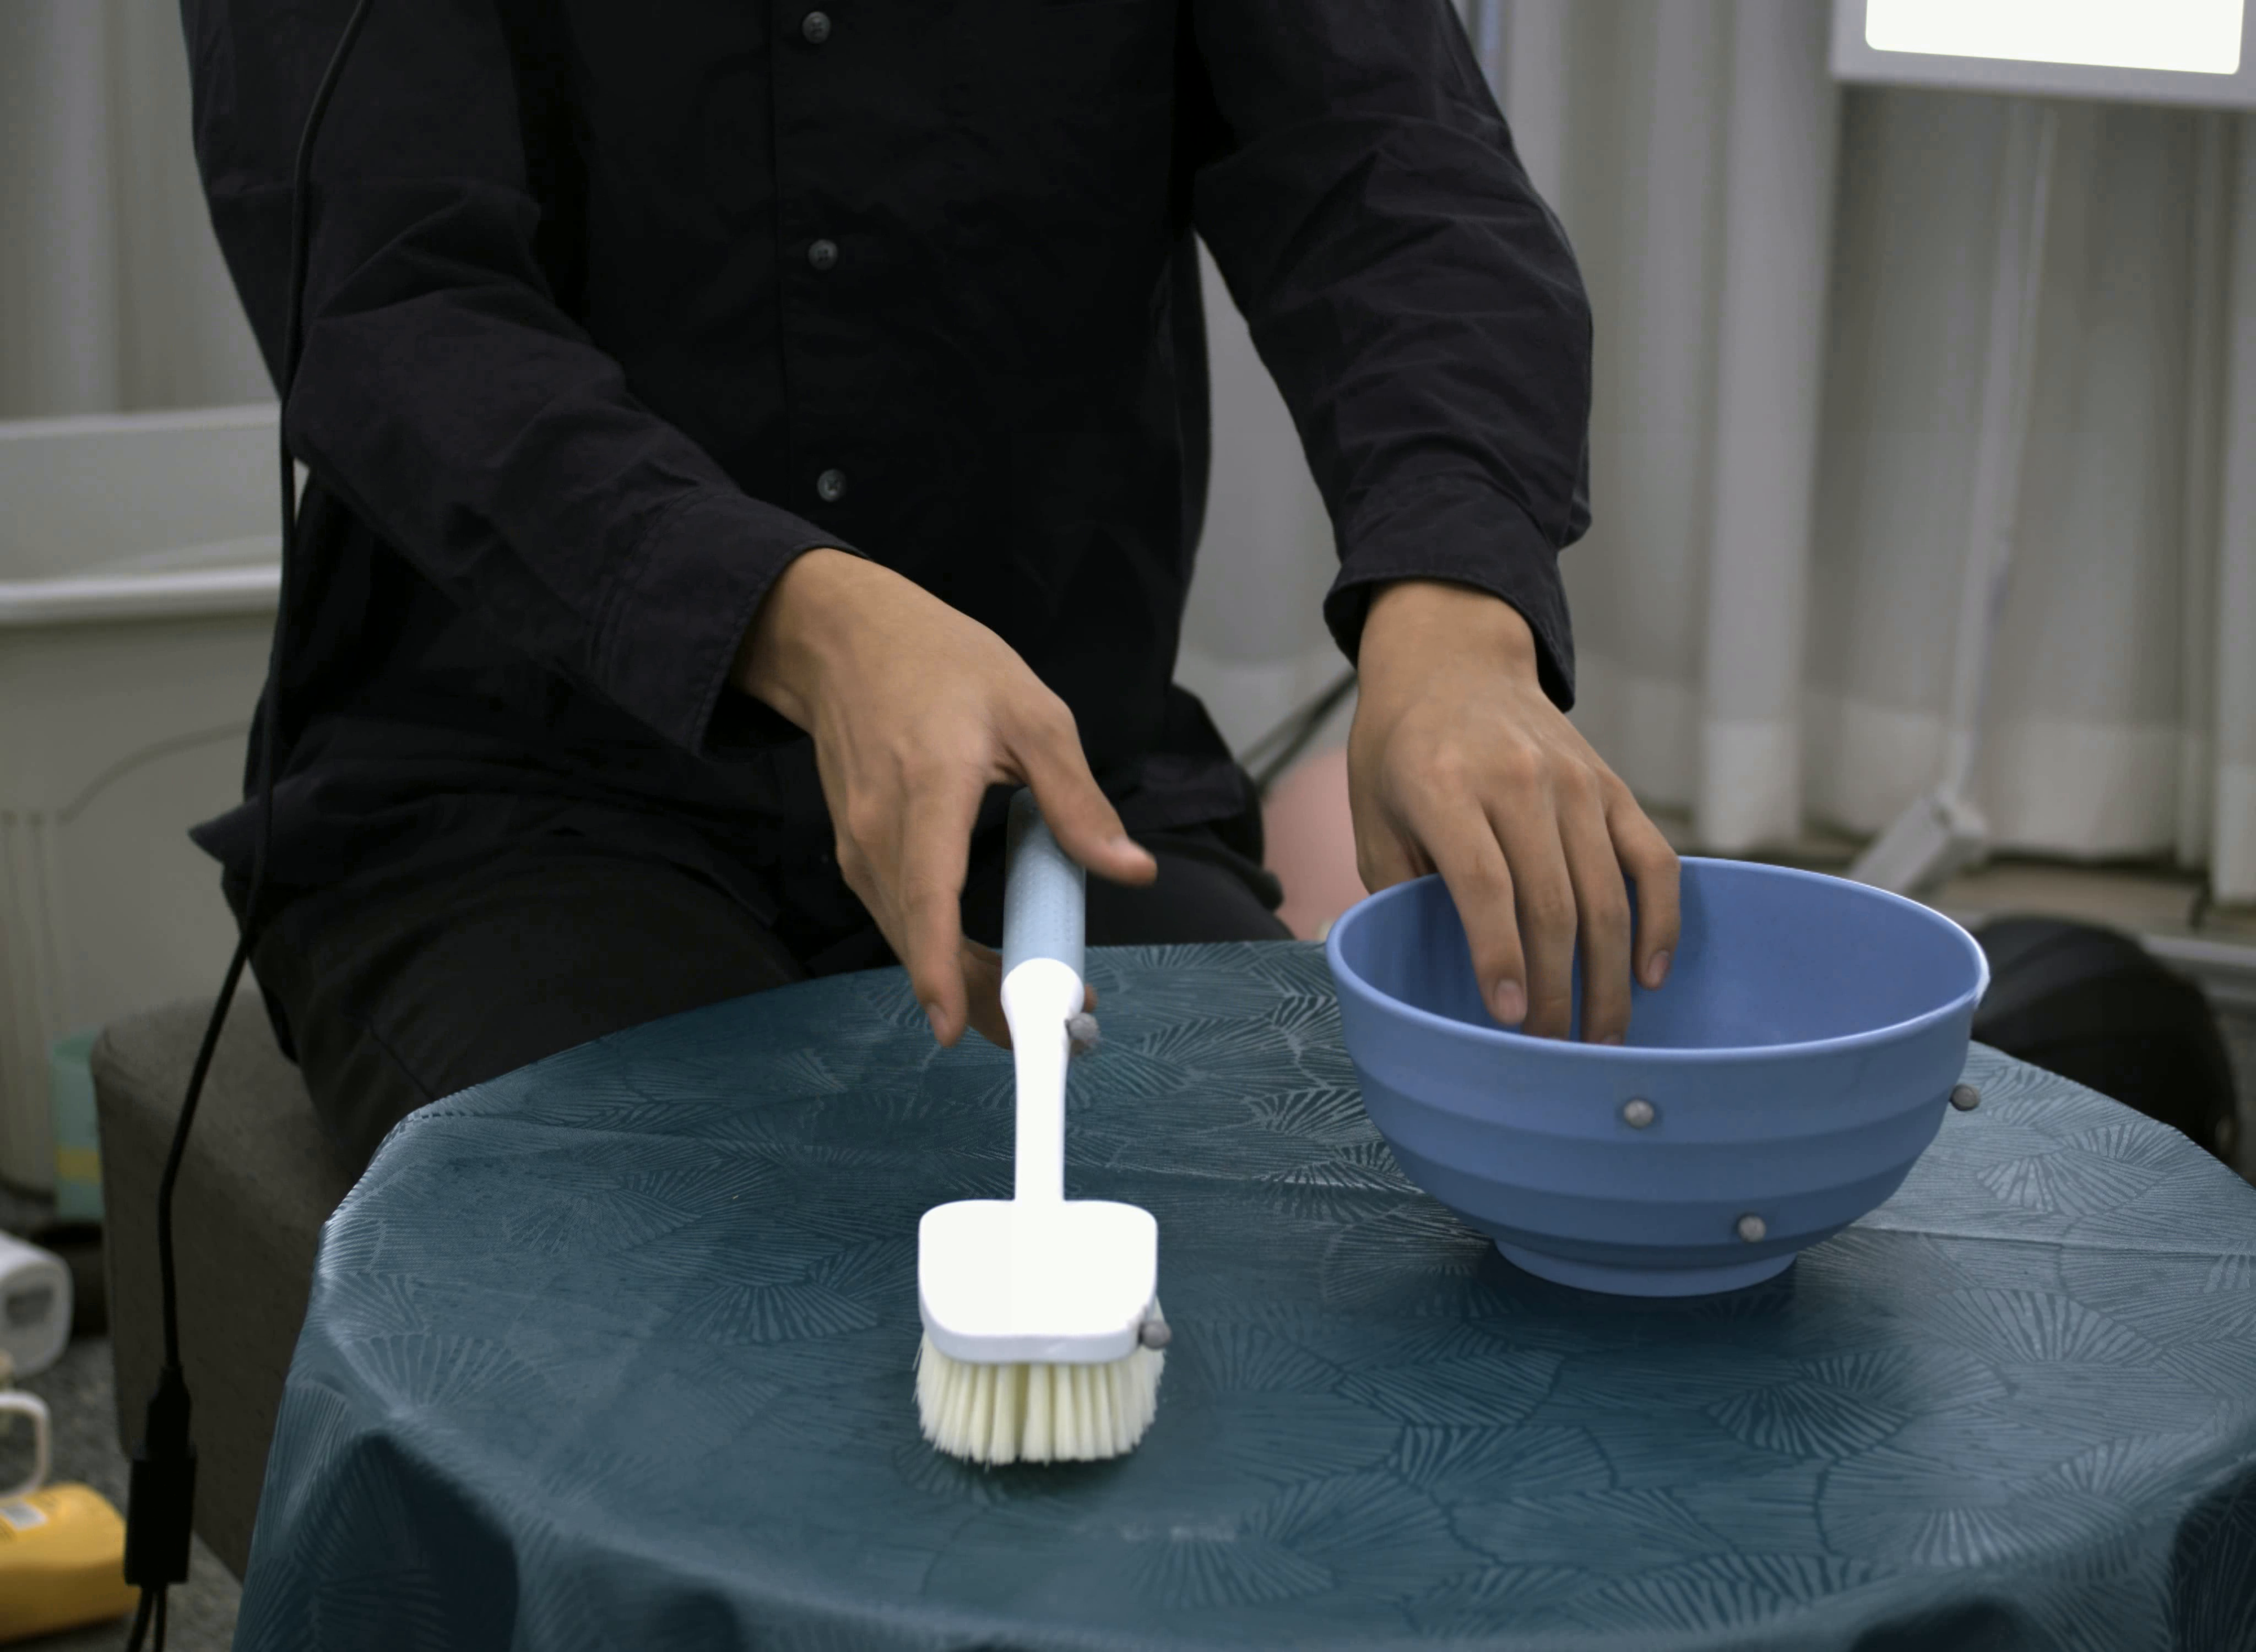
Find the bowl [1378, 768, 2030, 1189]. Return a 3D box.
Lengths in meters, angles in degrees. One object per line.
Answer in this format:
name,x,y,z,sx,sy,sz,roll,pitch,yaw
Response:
bowl,0.174,0.051,1.602,0.196,0.096,0.195,0,15,1

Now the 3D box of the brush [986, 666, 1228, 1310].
brush,-0.002,0.060,1.573,0.083,0.084,0.323,34,23,-16
